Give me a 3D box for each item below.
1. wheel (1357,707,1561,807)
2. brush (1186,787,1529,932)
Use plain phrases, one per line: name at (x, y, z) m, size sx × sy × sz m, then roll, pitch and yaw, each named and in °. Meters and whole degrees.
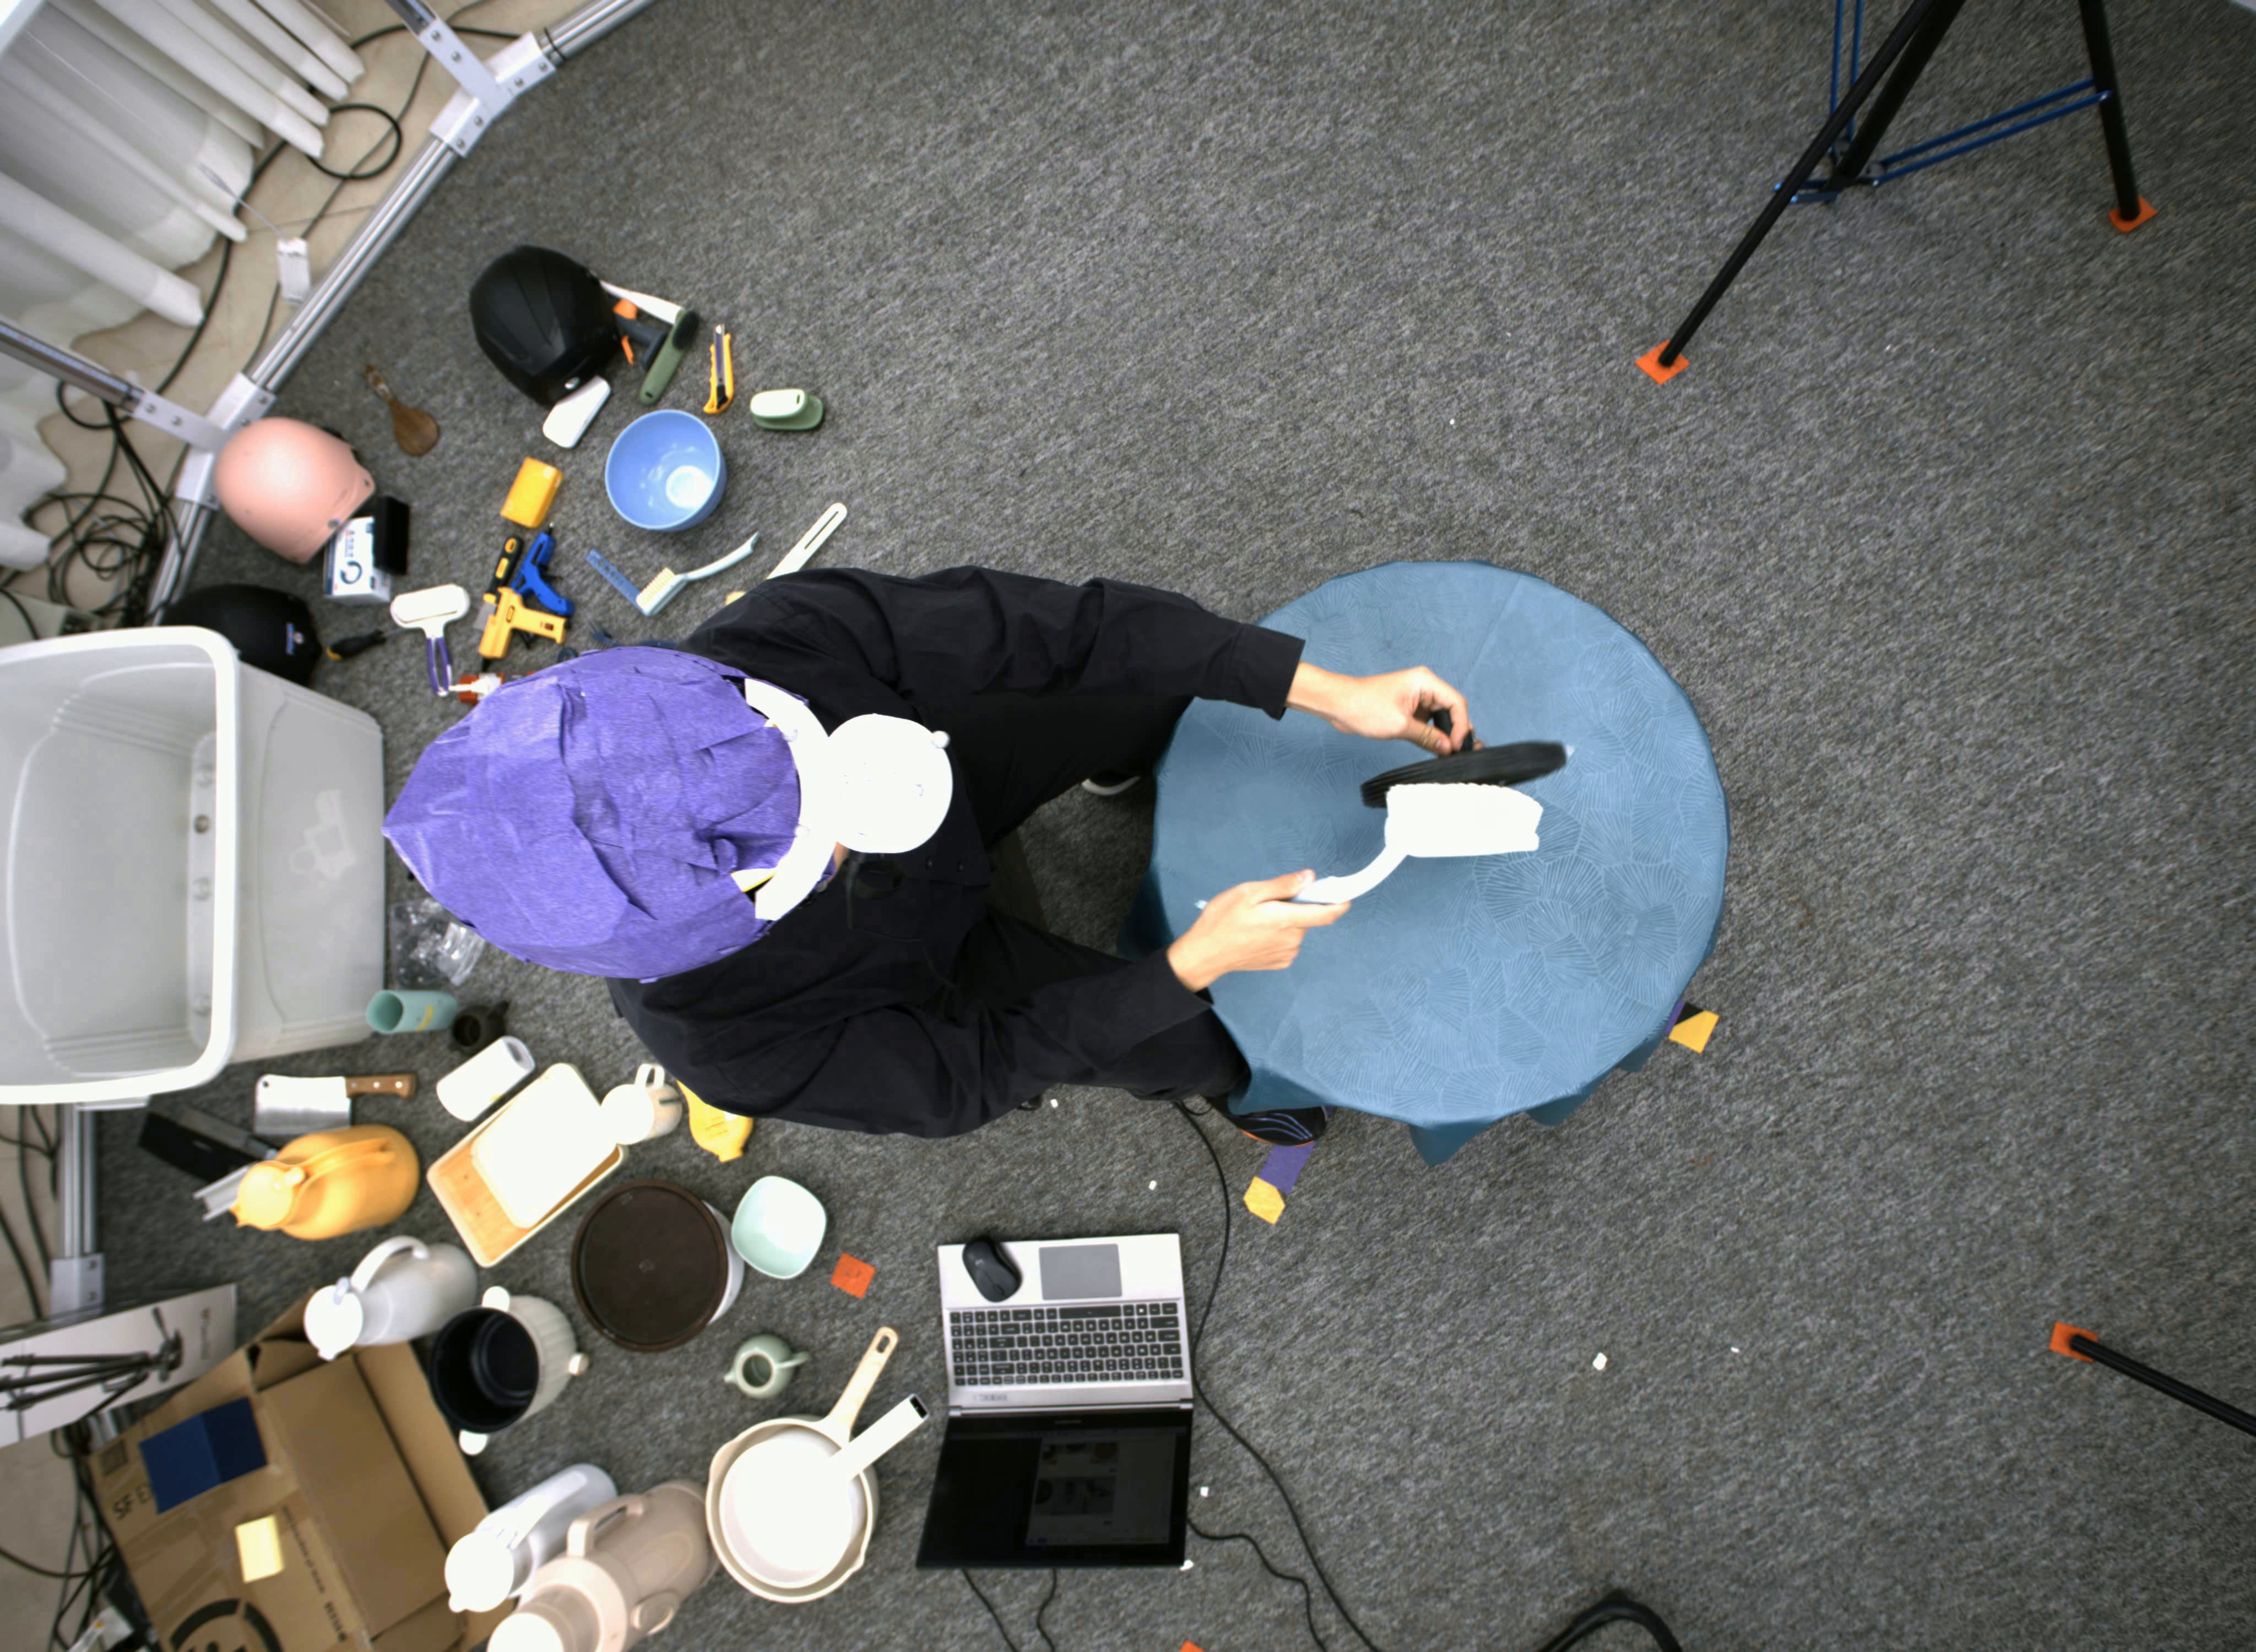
wheel at (0.302, -0.071, 1.282) m, size 0.188 × 0.189 × 0.079 m, roll -12°, pitch 87°, yaw -19°
brush at (0.195, 0.016, 1.235) m, size 0.329 × 0.082 × 0.084 m, roll -15°, pitch 113°, yaw 26°
